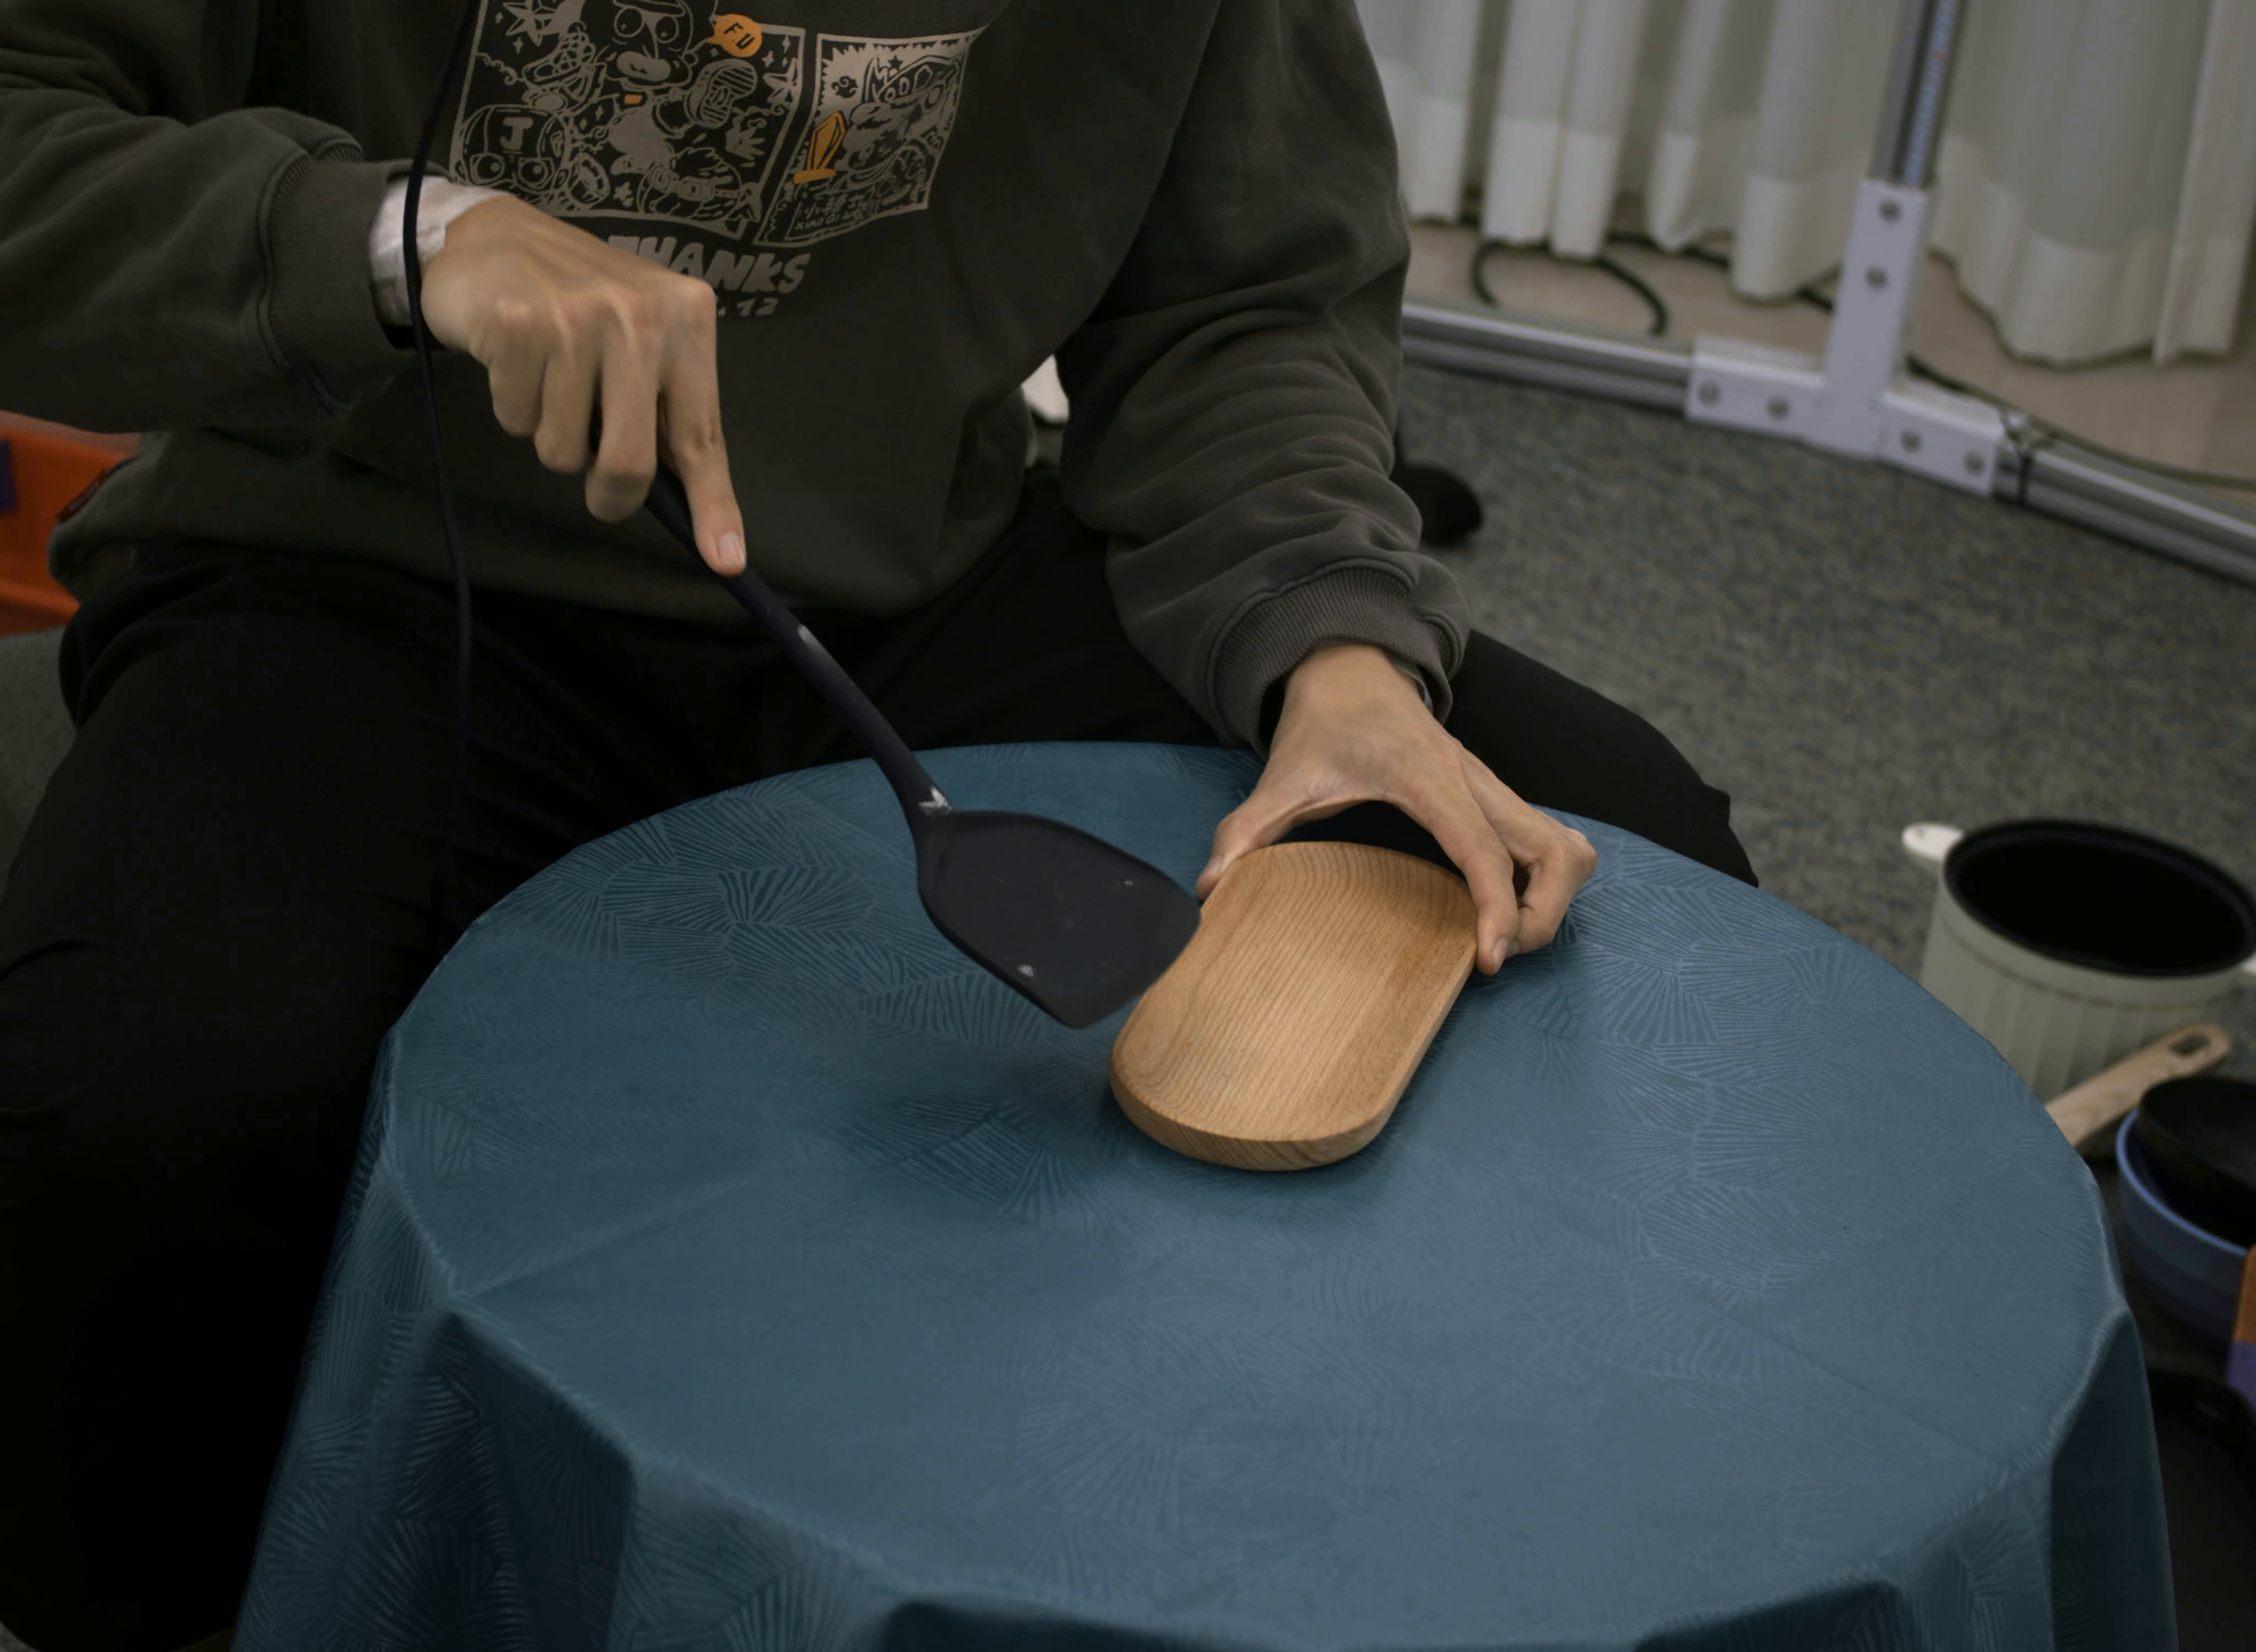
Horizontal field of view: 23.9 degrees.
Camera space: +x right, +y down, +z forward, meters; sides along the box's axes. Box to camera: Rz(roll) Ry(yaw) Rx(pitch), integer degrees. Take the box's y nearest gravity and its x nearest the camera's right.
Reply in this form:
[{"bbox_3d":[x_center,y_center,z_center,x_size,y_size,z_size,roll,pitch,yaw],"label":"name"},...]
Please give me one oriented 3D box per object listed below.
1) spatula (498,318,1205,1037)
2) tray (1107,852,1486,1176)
[{"bbox_3d":[-0.105,-0.059,1.847,0.326,0.040,0.099,50,38,0],"label":"spatula"},{"bbox_3d":[0.062,0.065,1.916,0.102,0.020,0.231,12,29,14],"label":"tray"}]
